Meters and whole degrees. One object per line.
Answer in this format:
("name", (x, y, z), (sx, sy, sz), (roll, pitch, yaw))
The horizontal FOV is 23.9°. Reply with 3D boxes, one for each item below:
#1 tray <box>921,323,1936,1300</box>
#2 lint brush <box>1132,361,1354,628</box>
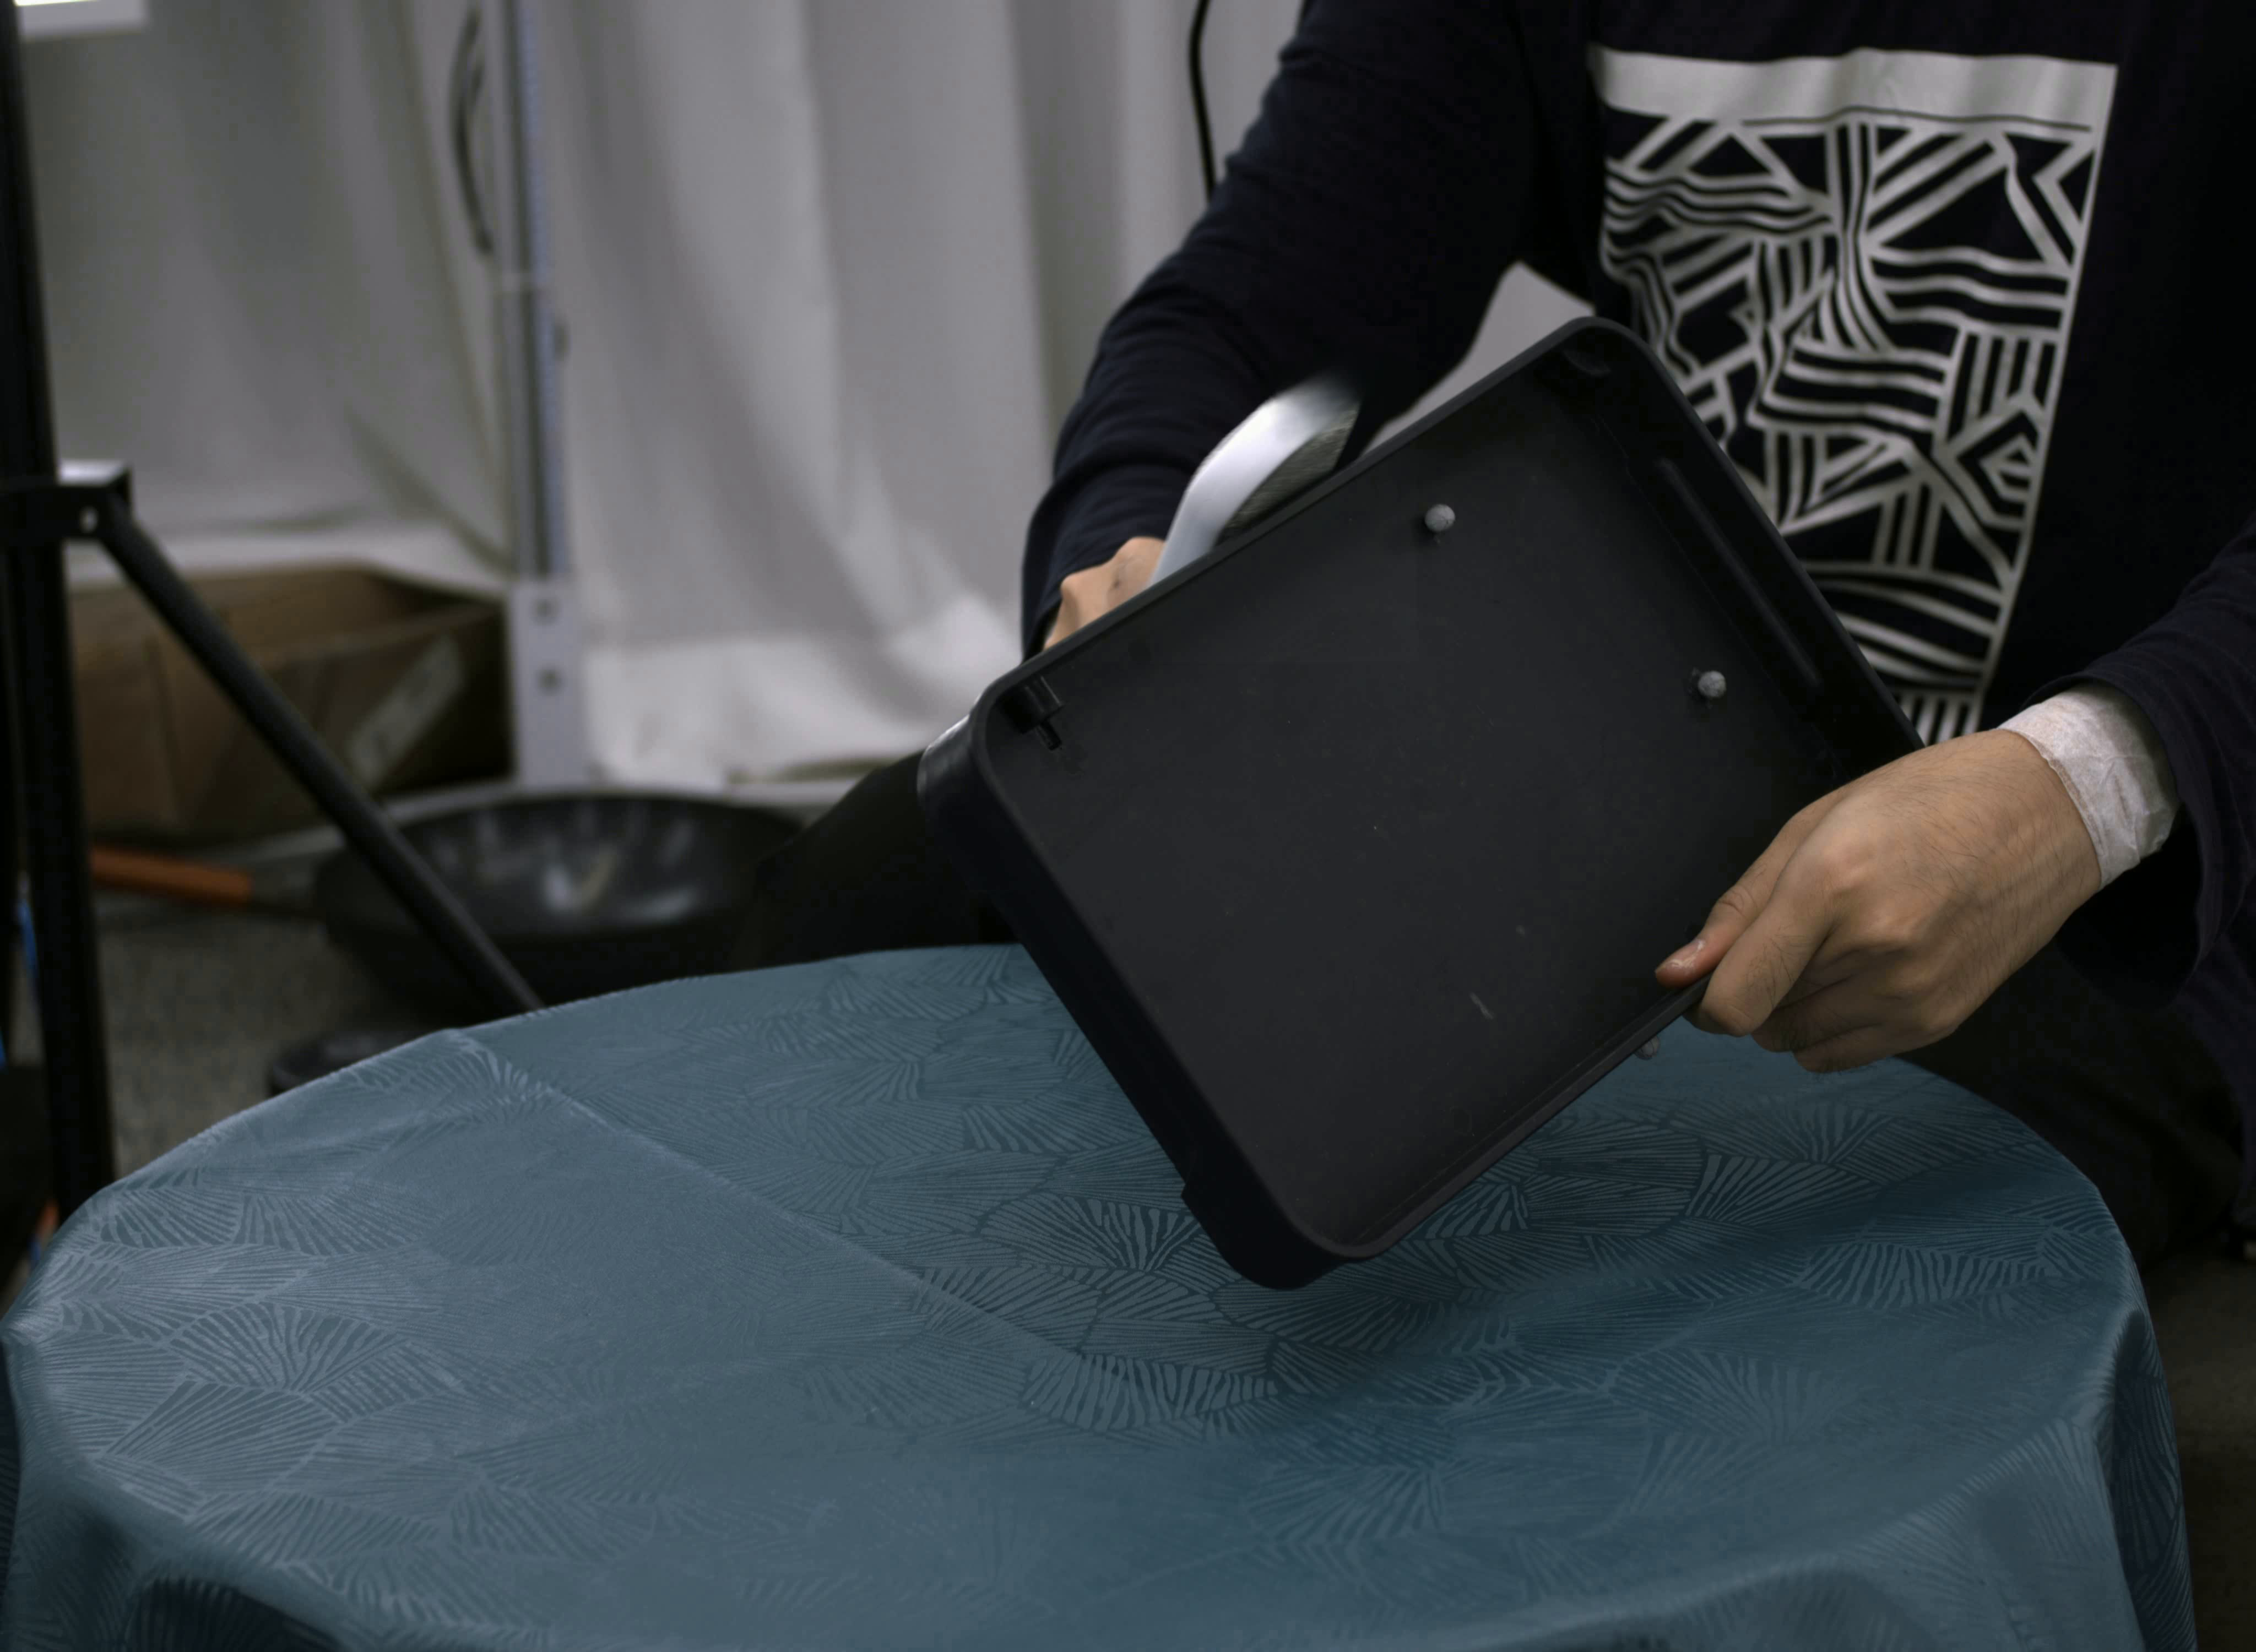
("tray", (0.091, -0.010, 1.494), (0.312, 0.185, 0.037), (-32, -3, -41))
("lint brush", (0.025, -0.072, 1.612), (0.060, 0.021, 0.309), (-45, -6, -17))
